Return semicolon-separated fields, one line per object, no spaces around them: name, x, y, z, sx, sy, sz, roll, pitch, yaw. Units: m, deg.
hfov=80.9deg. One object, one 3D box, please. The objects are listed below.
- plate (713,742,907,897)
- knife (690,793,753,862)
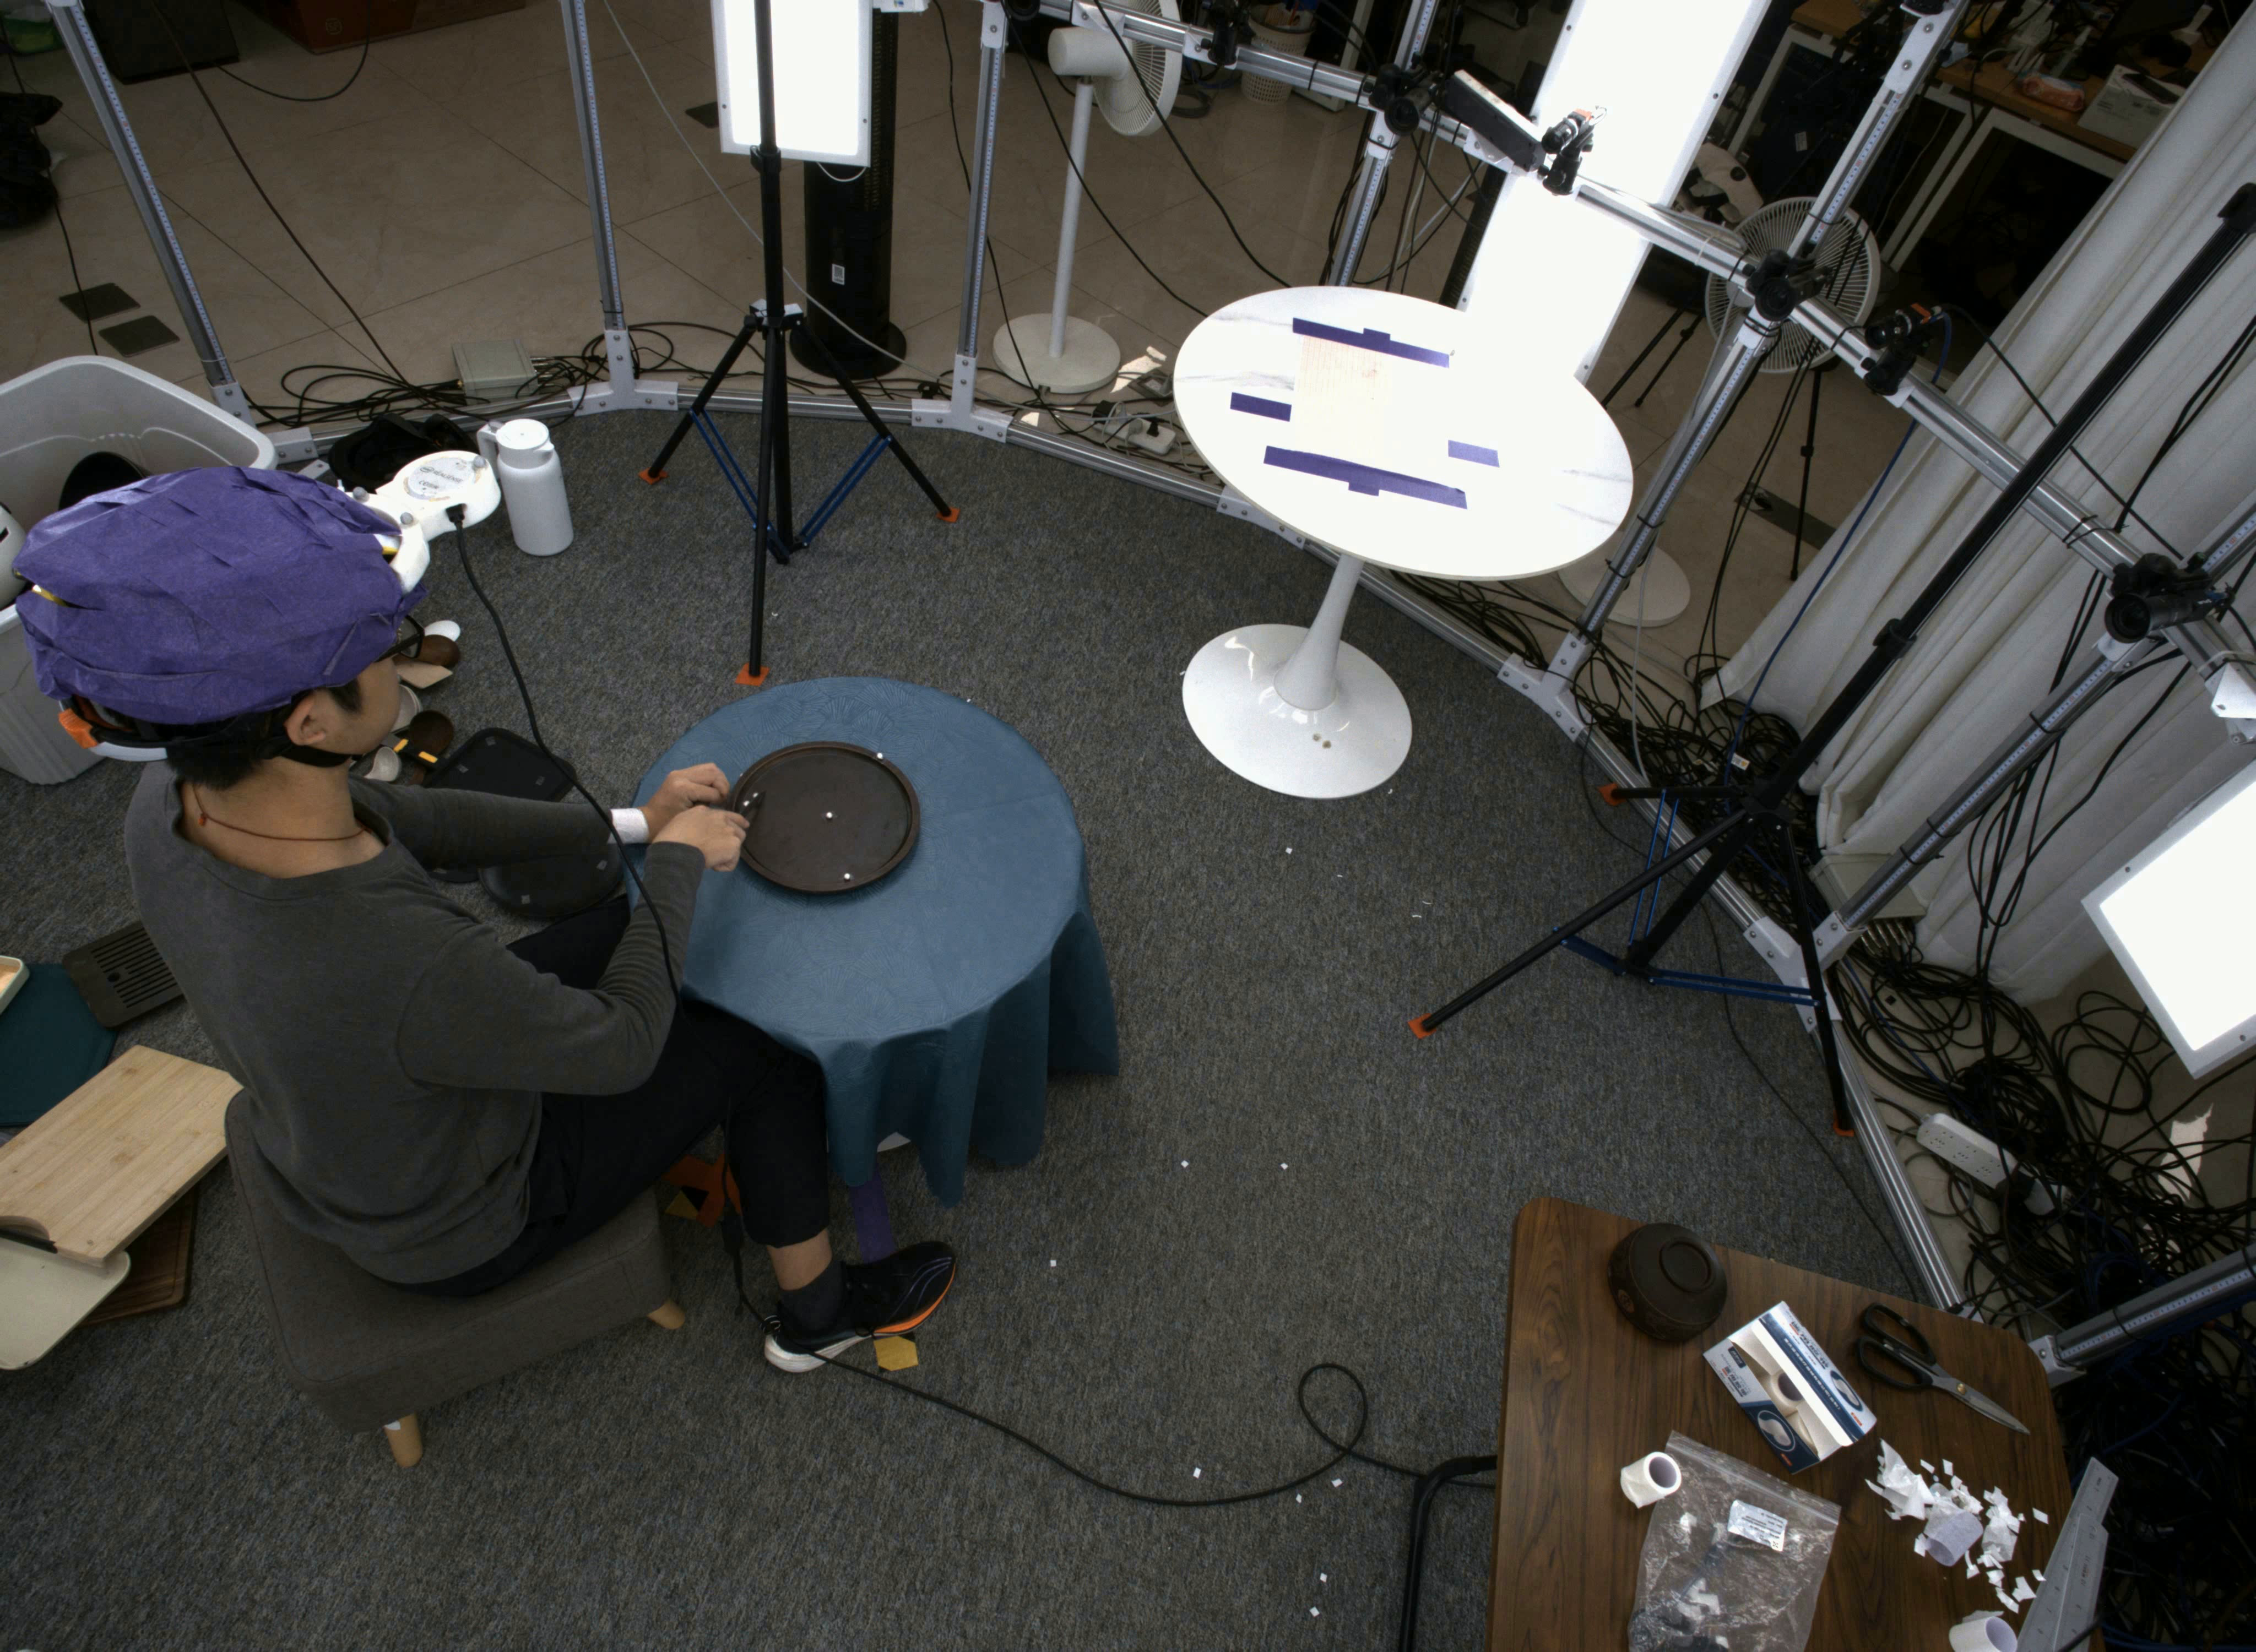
plate;-0.423;-0.010;1.729;0.254;0.029;0.250;8;51;-9
knife;-0.507;-0.007;1.625;0.016;0.025;0.234;10;19;-2
